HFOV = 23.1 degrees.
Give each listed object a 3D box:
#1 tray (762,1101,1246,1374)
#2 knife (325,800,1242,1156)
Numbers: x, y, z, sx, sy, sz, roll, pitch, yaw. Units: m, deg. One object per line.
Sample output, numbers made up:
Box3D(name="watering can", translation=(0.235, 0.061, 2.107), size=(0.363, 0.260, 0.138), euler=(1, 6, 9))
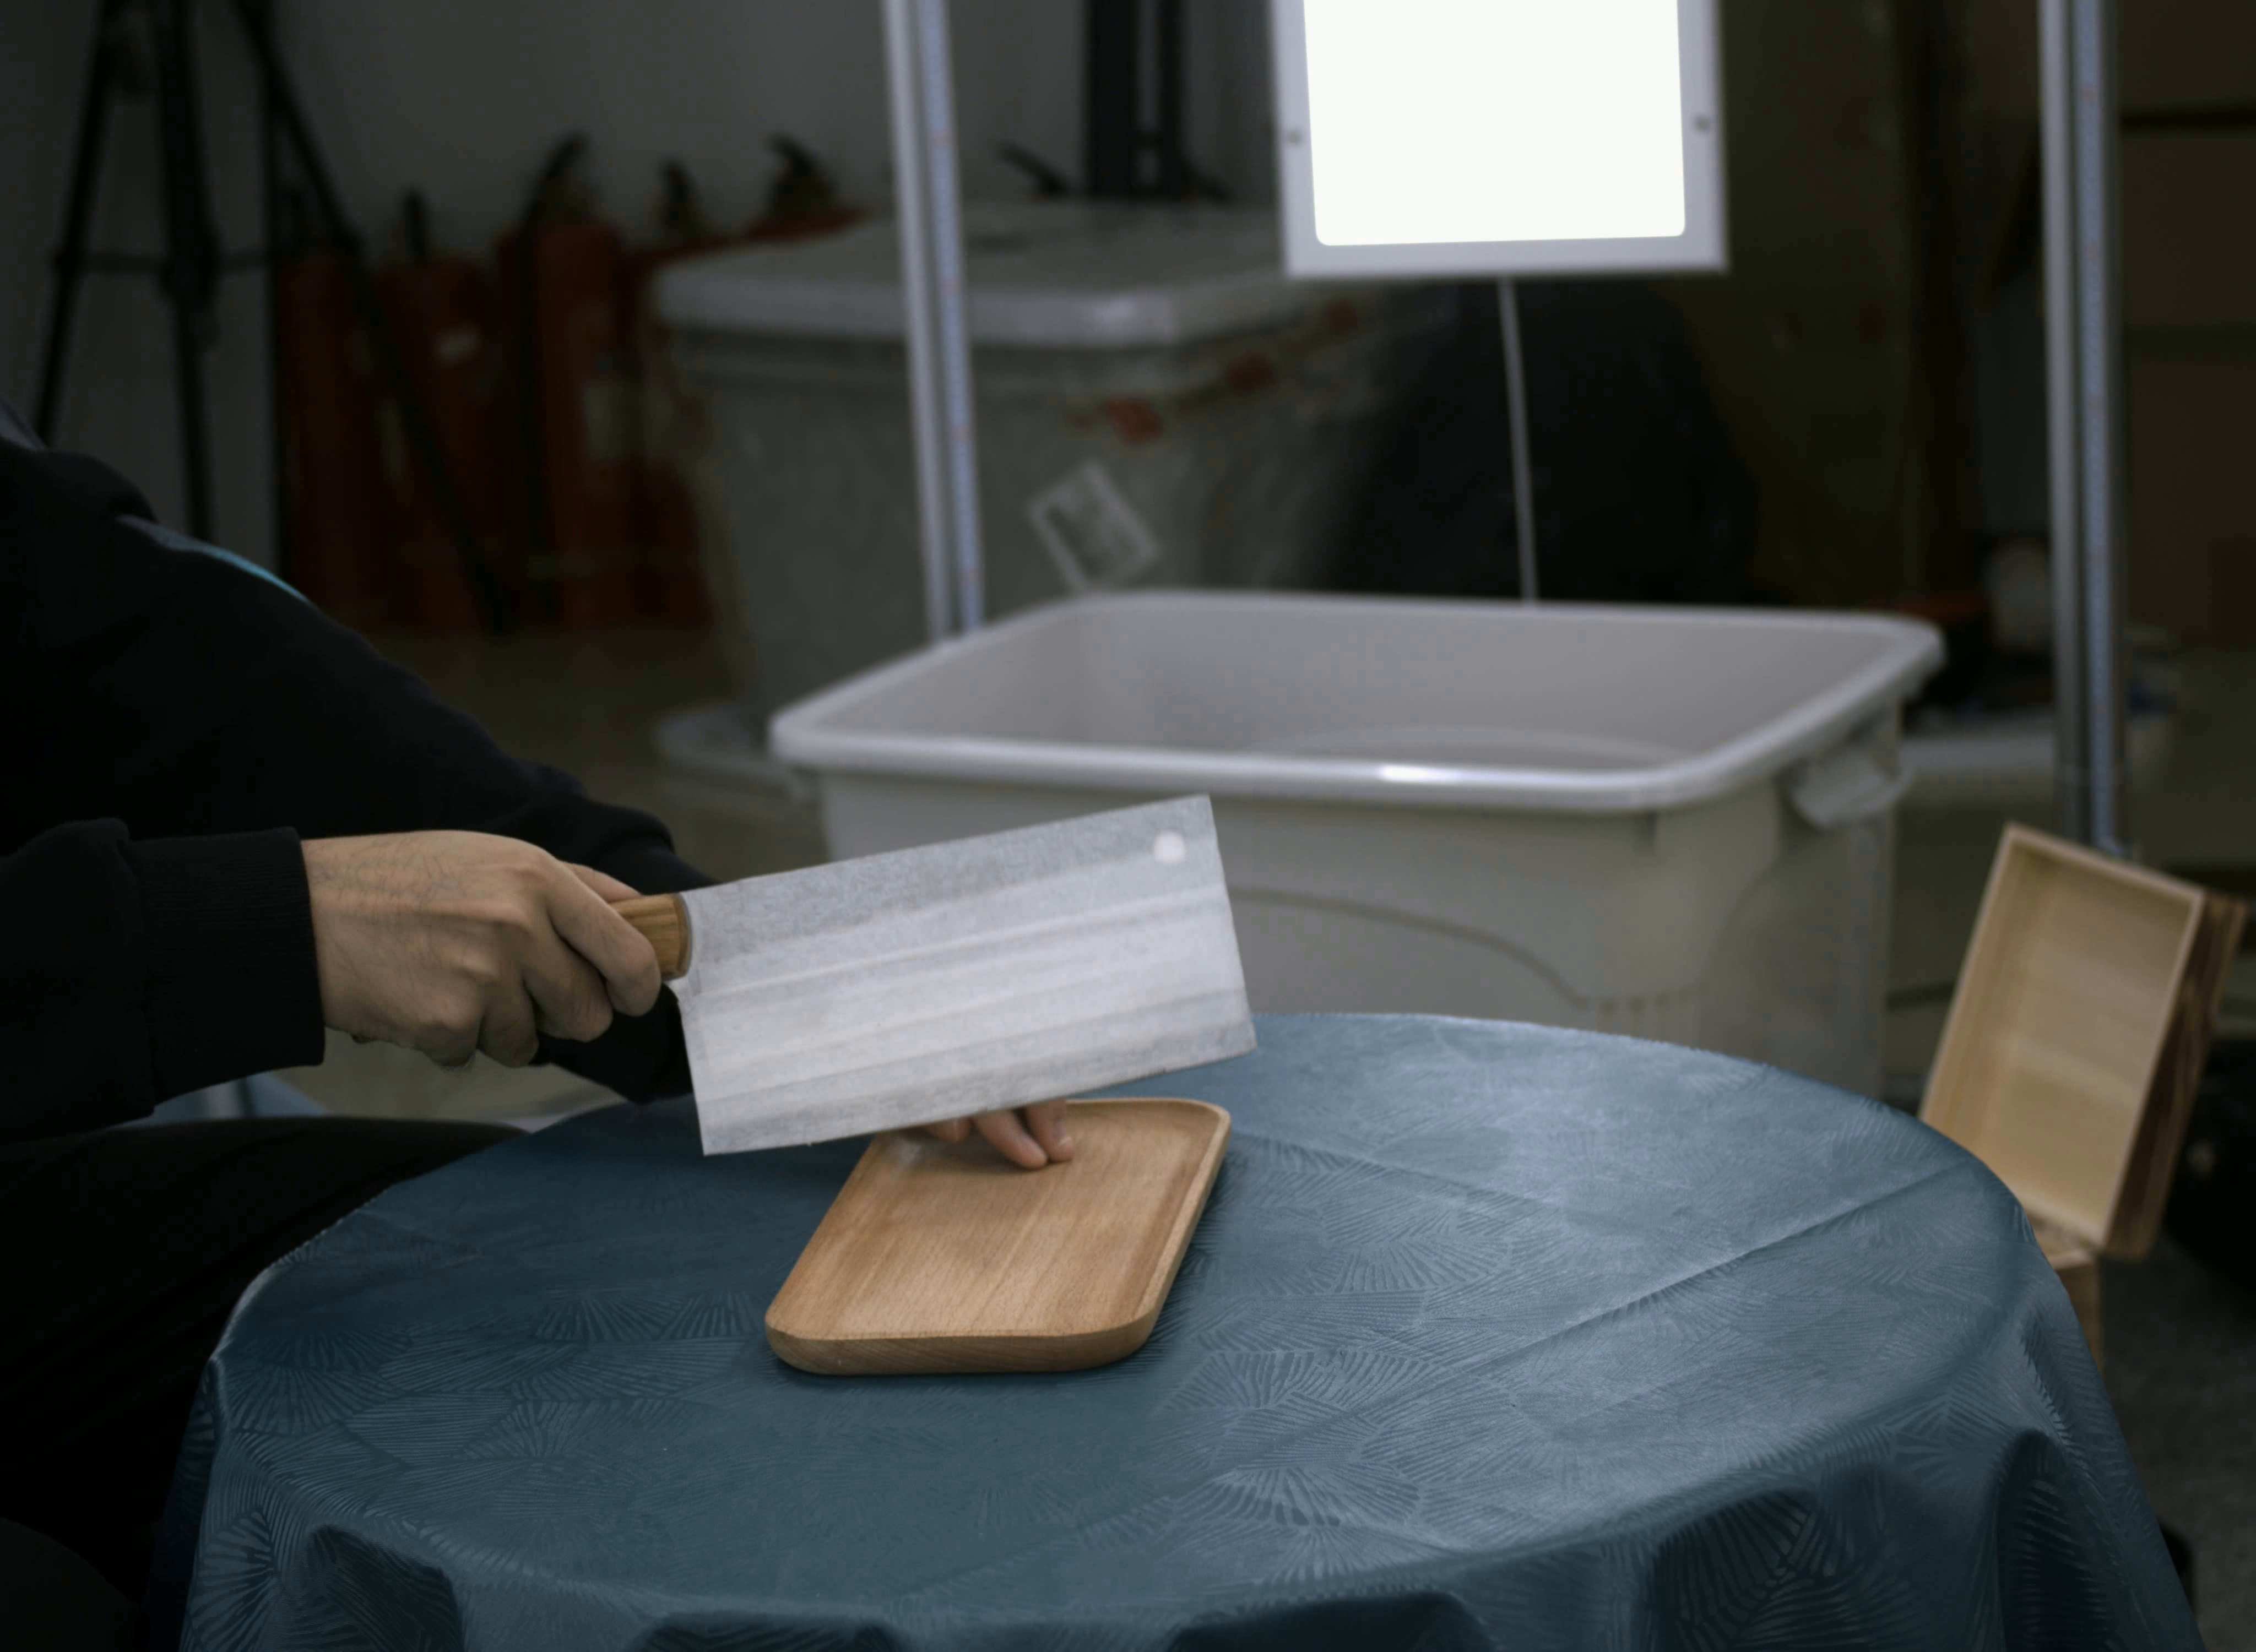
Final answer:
Box3D(name="tray", translation=(-0.038, 0.136, 1.842), size=(0.131, 0.023, 0.248), euler=(0, 13, 11))
Box3D(name="knife", translation=(-0.114, 0.060, 1.856), size=(0.305, 0.093, 0.021), euler=(-10, 1, 0))
